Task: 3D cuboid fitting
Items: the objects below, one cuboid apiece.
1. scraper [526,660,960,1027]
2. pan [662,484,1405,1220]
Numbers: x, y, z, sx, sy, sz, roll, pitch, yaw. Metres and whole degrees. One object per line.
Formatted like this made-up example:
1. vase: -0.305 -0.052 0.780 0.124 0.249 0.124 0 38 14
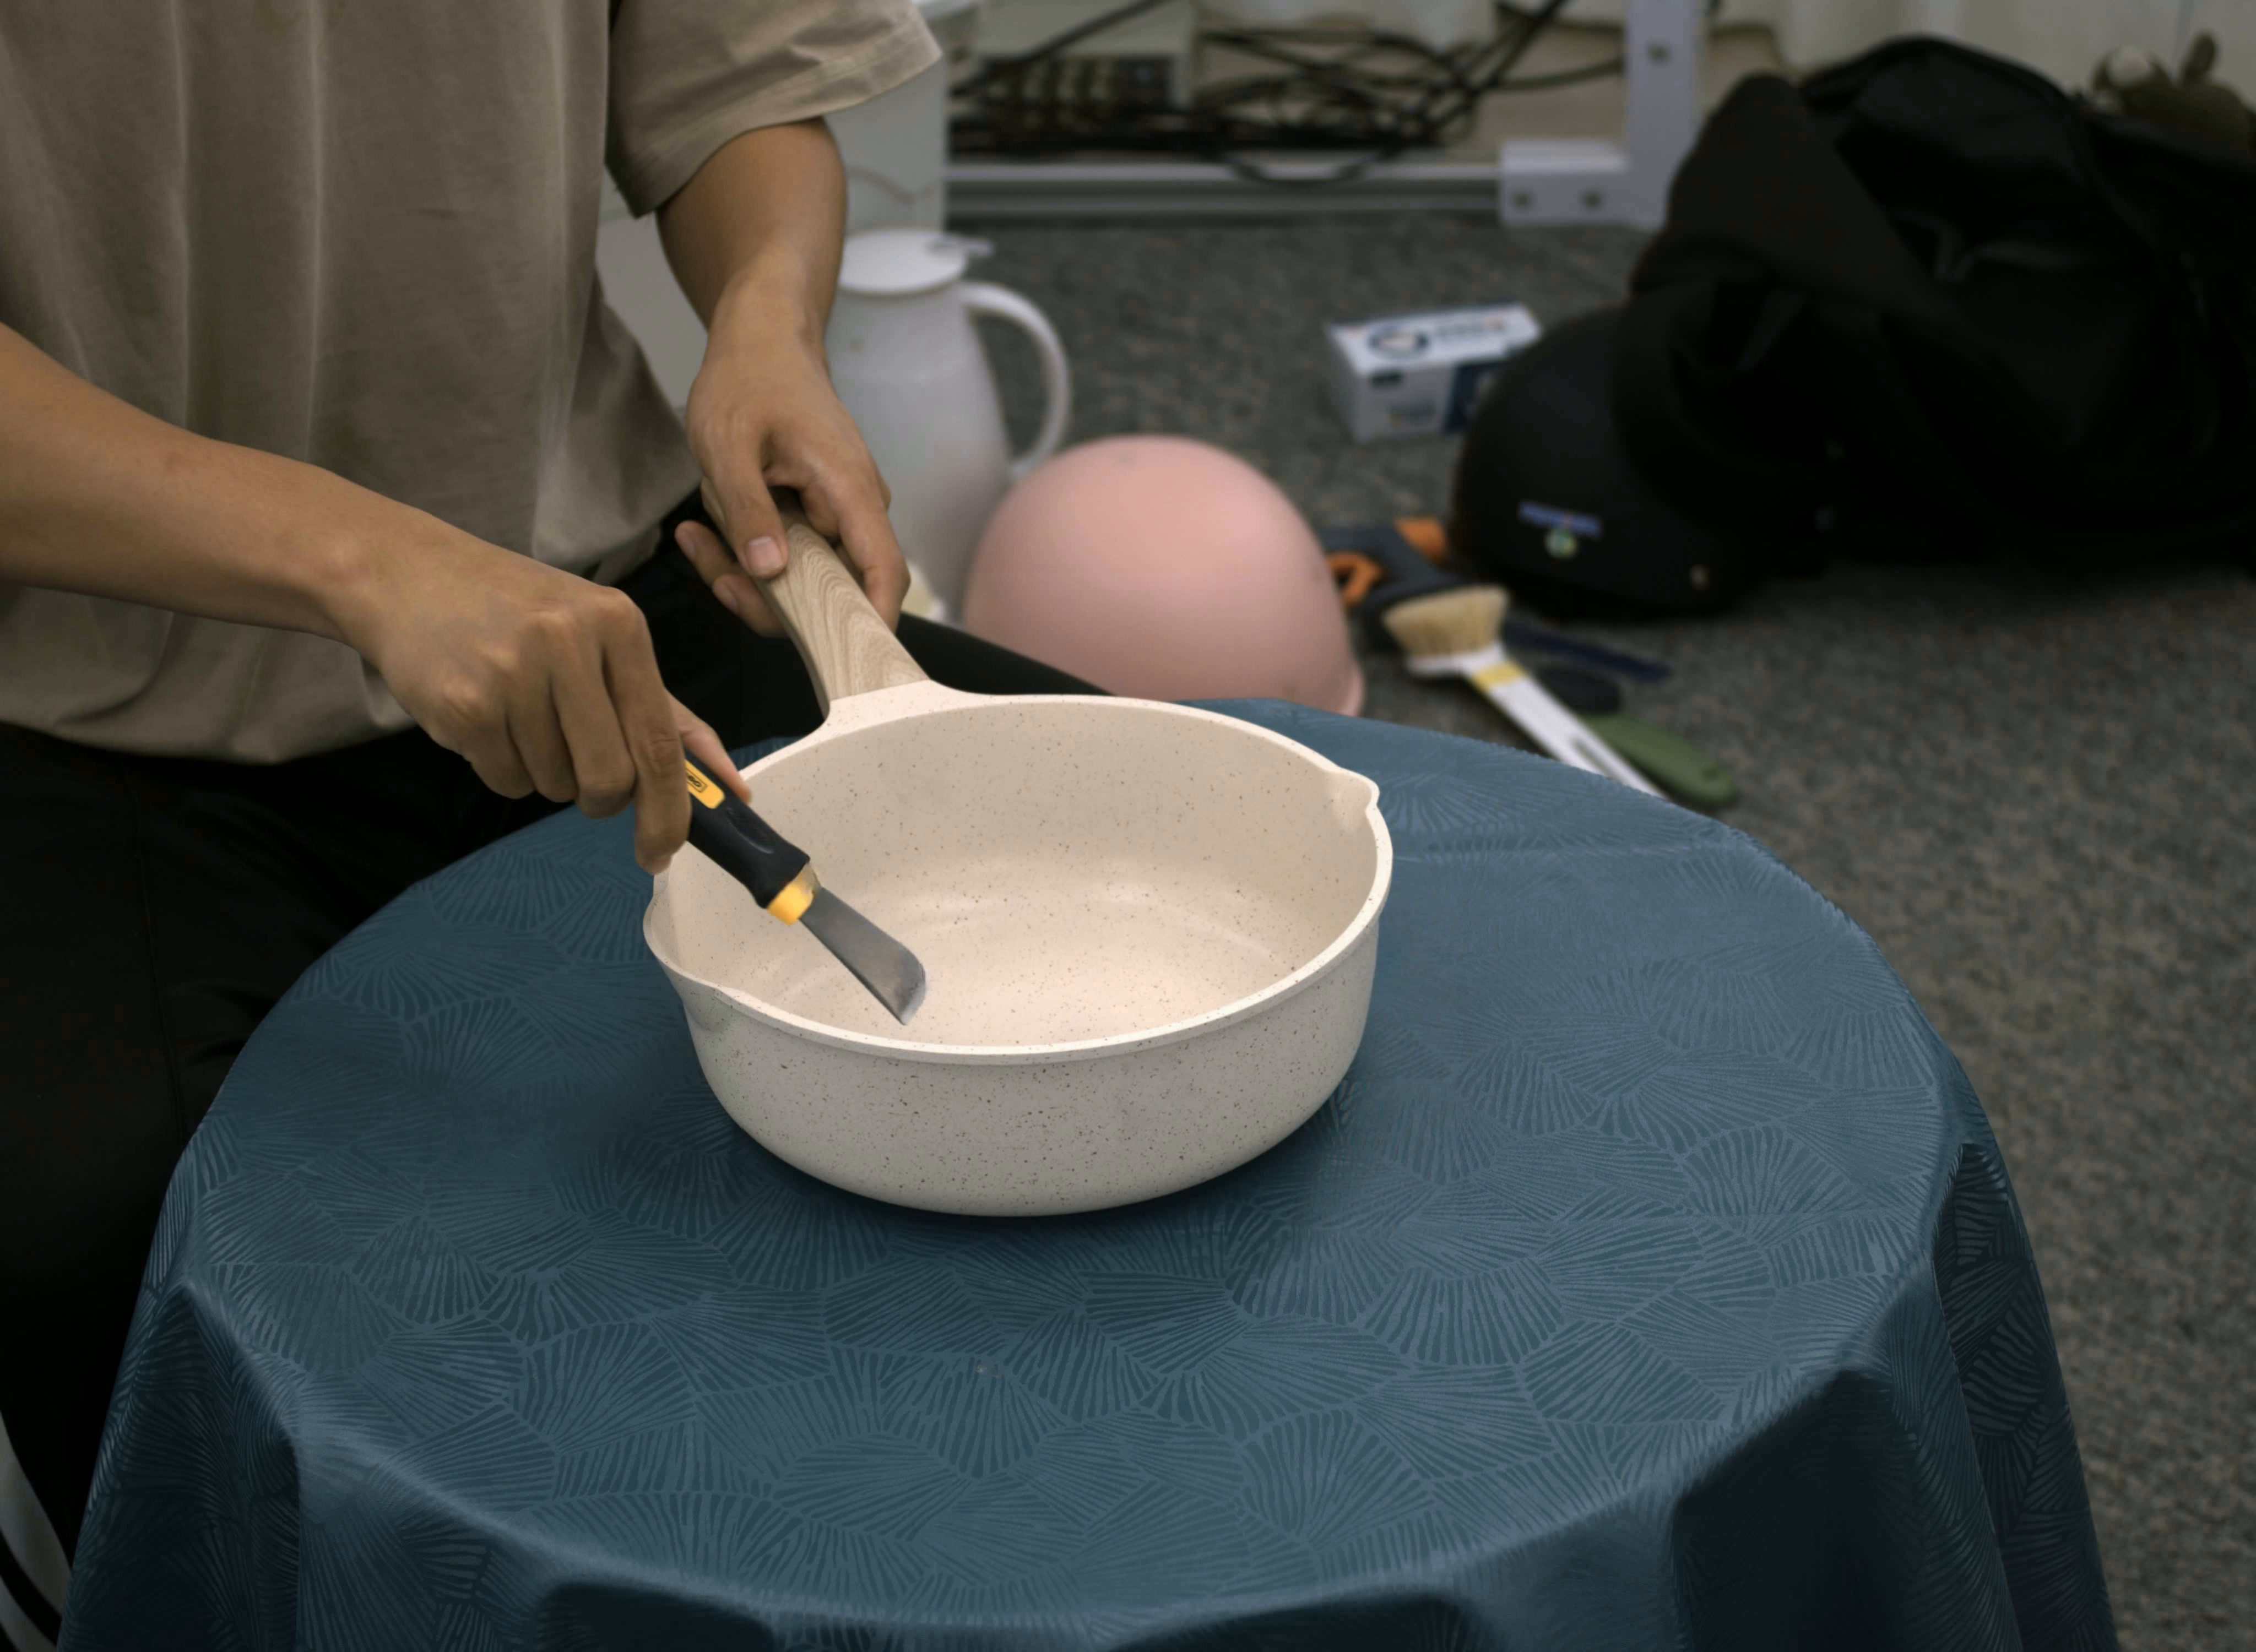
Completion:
1. scraper: -0.128 0.005 1.848 0.170 0.014 0.039 39 42 -3
2. pan: -0.064 0.003 1.993 0.264 0.101 0.438 -15 30 -18
